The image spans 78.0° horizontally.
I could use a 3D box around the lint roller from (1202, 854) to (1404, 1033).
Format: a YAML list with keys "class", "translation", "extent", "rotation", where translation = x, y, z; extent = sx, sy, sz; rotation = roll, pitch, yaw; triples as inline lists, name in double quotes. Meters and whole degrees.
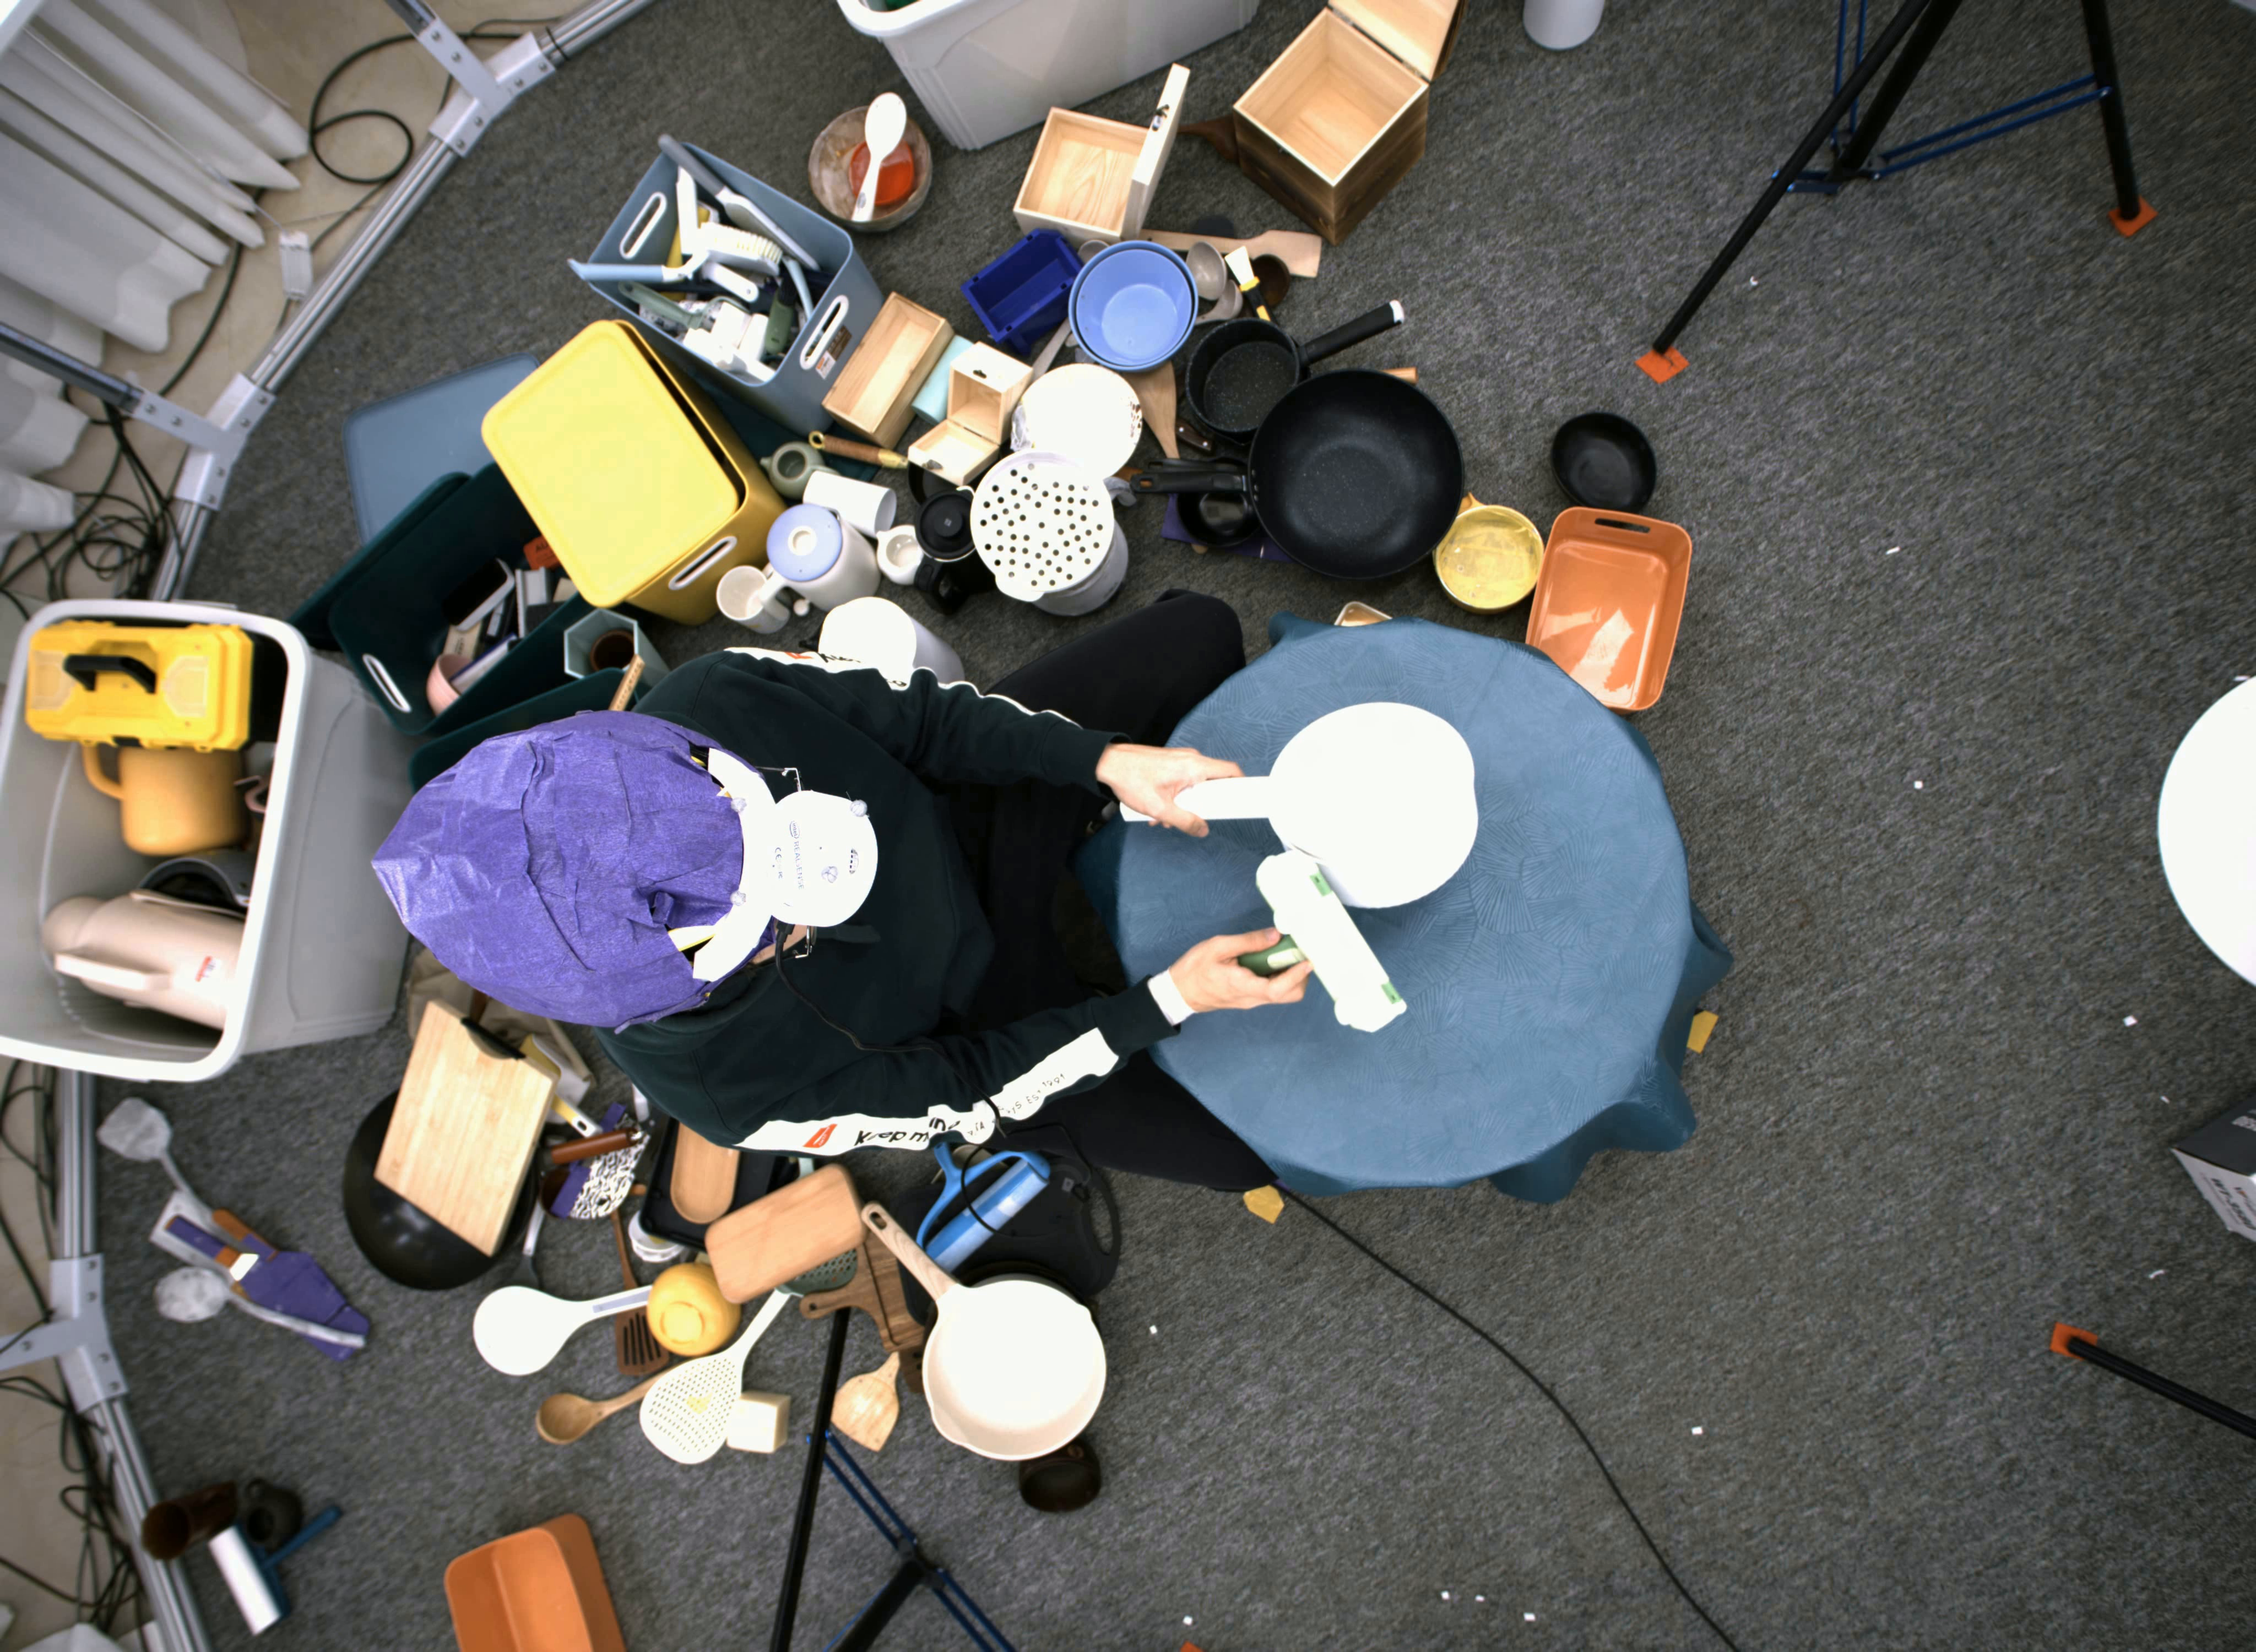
- class: "lint roller"
  translation: [0.143, 0.135, 1.337]
  extent: [0.186, 0.080, 0.201]
  rotation: [-23, 116, 29]

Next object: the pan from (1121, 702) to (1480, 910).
- class: "pan"
  translation: [0.174, -0.013, 1.385]
  extent: [0.357, 0.104, 0.196]
  rotation: [-3, 56, 22]
